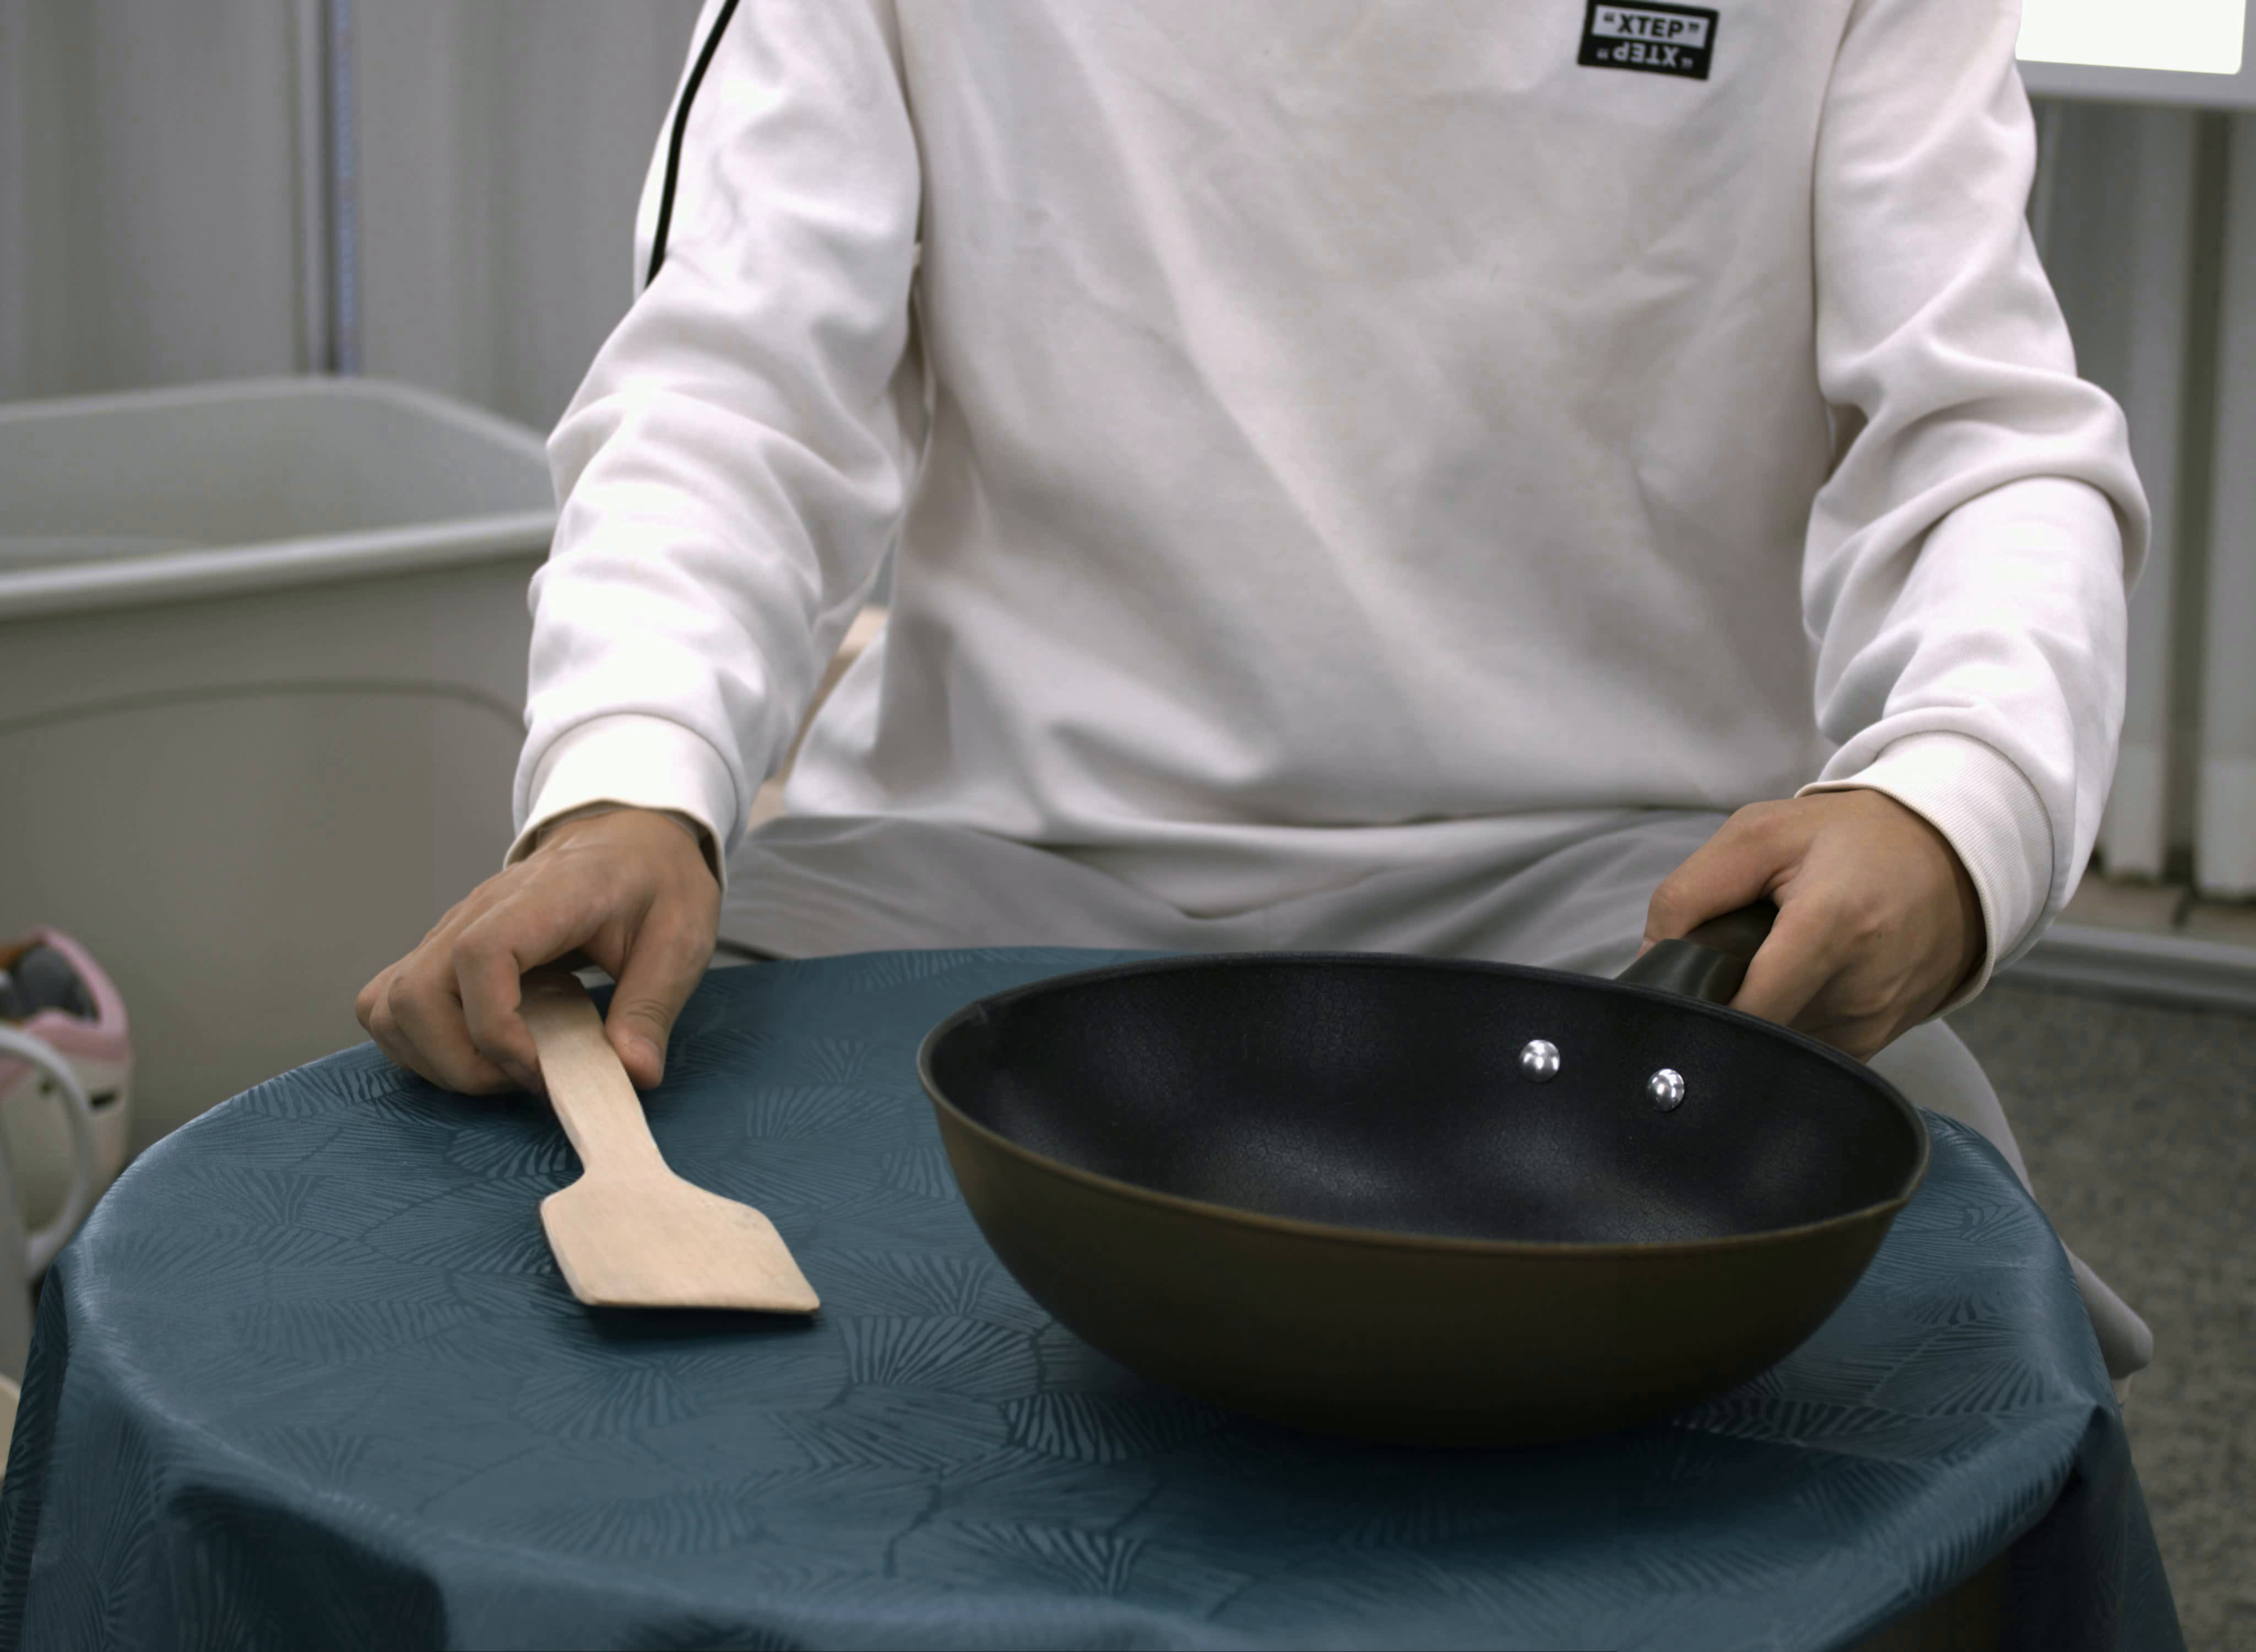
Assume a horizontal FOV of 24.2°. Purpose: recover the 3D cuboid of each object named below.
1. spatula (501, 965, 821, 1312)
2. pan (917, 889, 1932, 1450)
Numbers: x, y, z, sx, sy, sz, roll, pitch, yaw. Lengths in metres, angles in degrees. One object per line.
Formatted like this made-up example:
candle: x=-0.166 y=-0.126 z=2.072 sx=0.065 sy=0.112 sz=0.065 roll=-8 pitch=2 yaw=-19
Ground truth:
spatula: x=-0.160 y=0.094 z=1.634 sx=0.072 sy=0.011 sz=0.290 roll=3 pitch=17 yaw=-18
pan: x=0.123 y=0.094 z=1.548 sx=0.285 sy=0.087 sz=0.465 roll=12 pitch=15 yaw=27
